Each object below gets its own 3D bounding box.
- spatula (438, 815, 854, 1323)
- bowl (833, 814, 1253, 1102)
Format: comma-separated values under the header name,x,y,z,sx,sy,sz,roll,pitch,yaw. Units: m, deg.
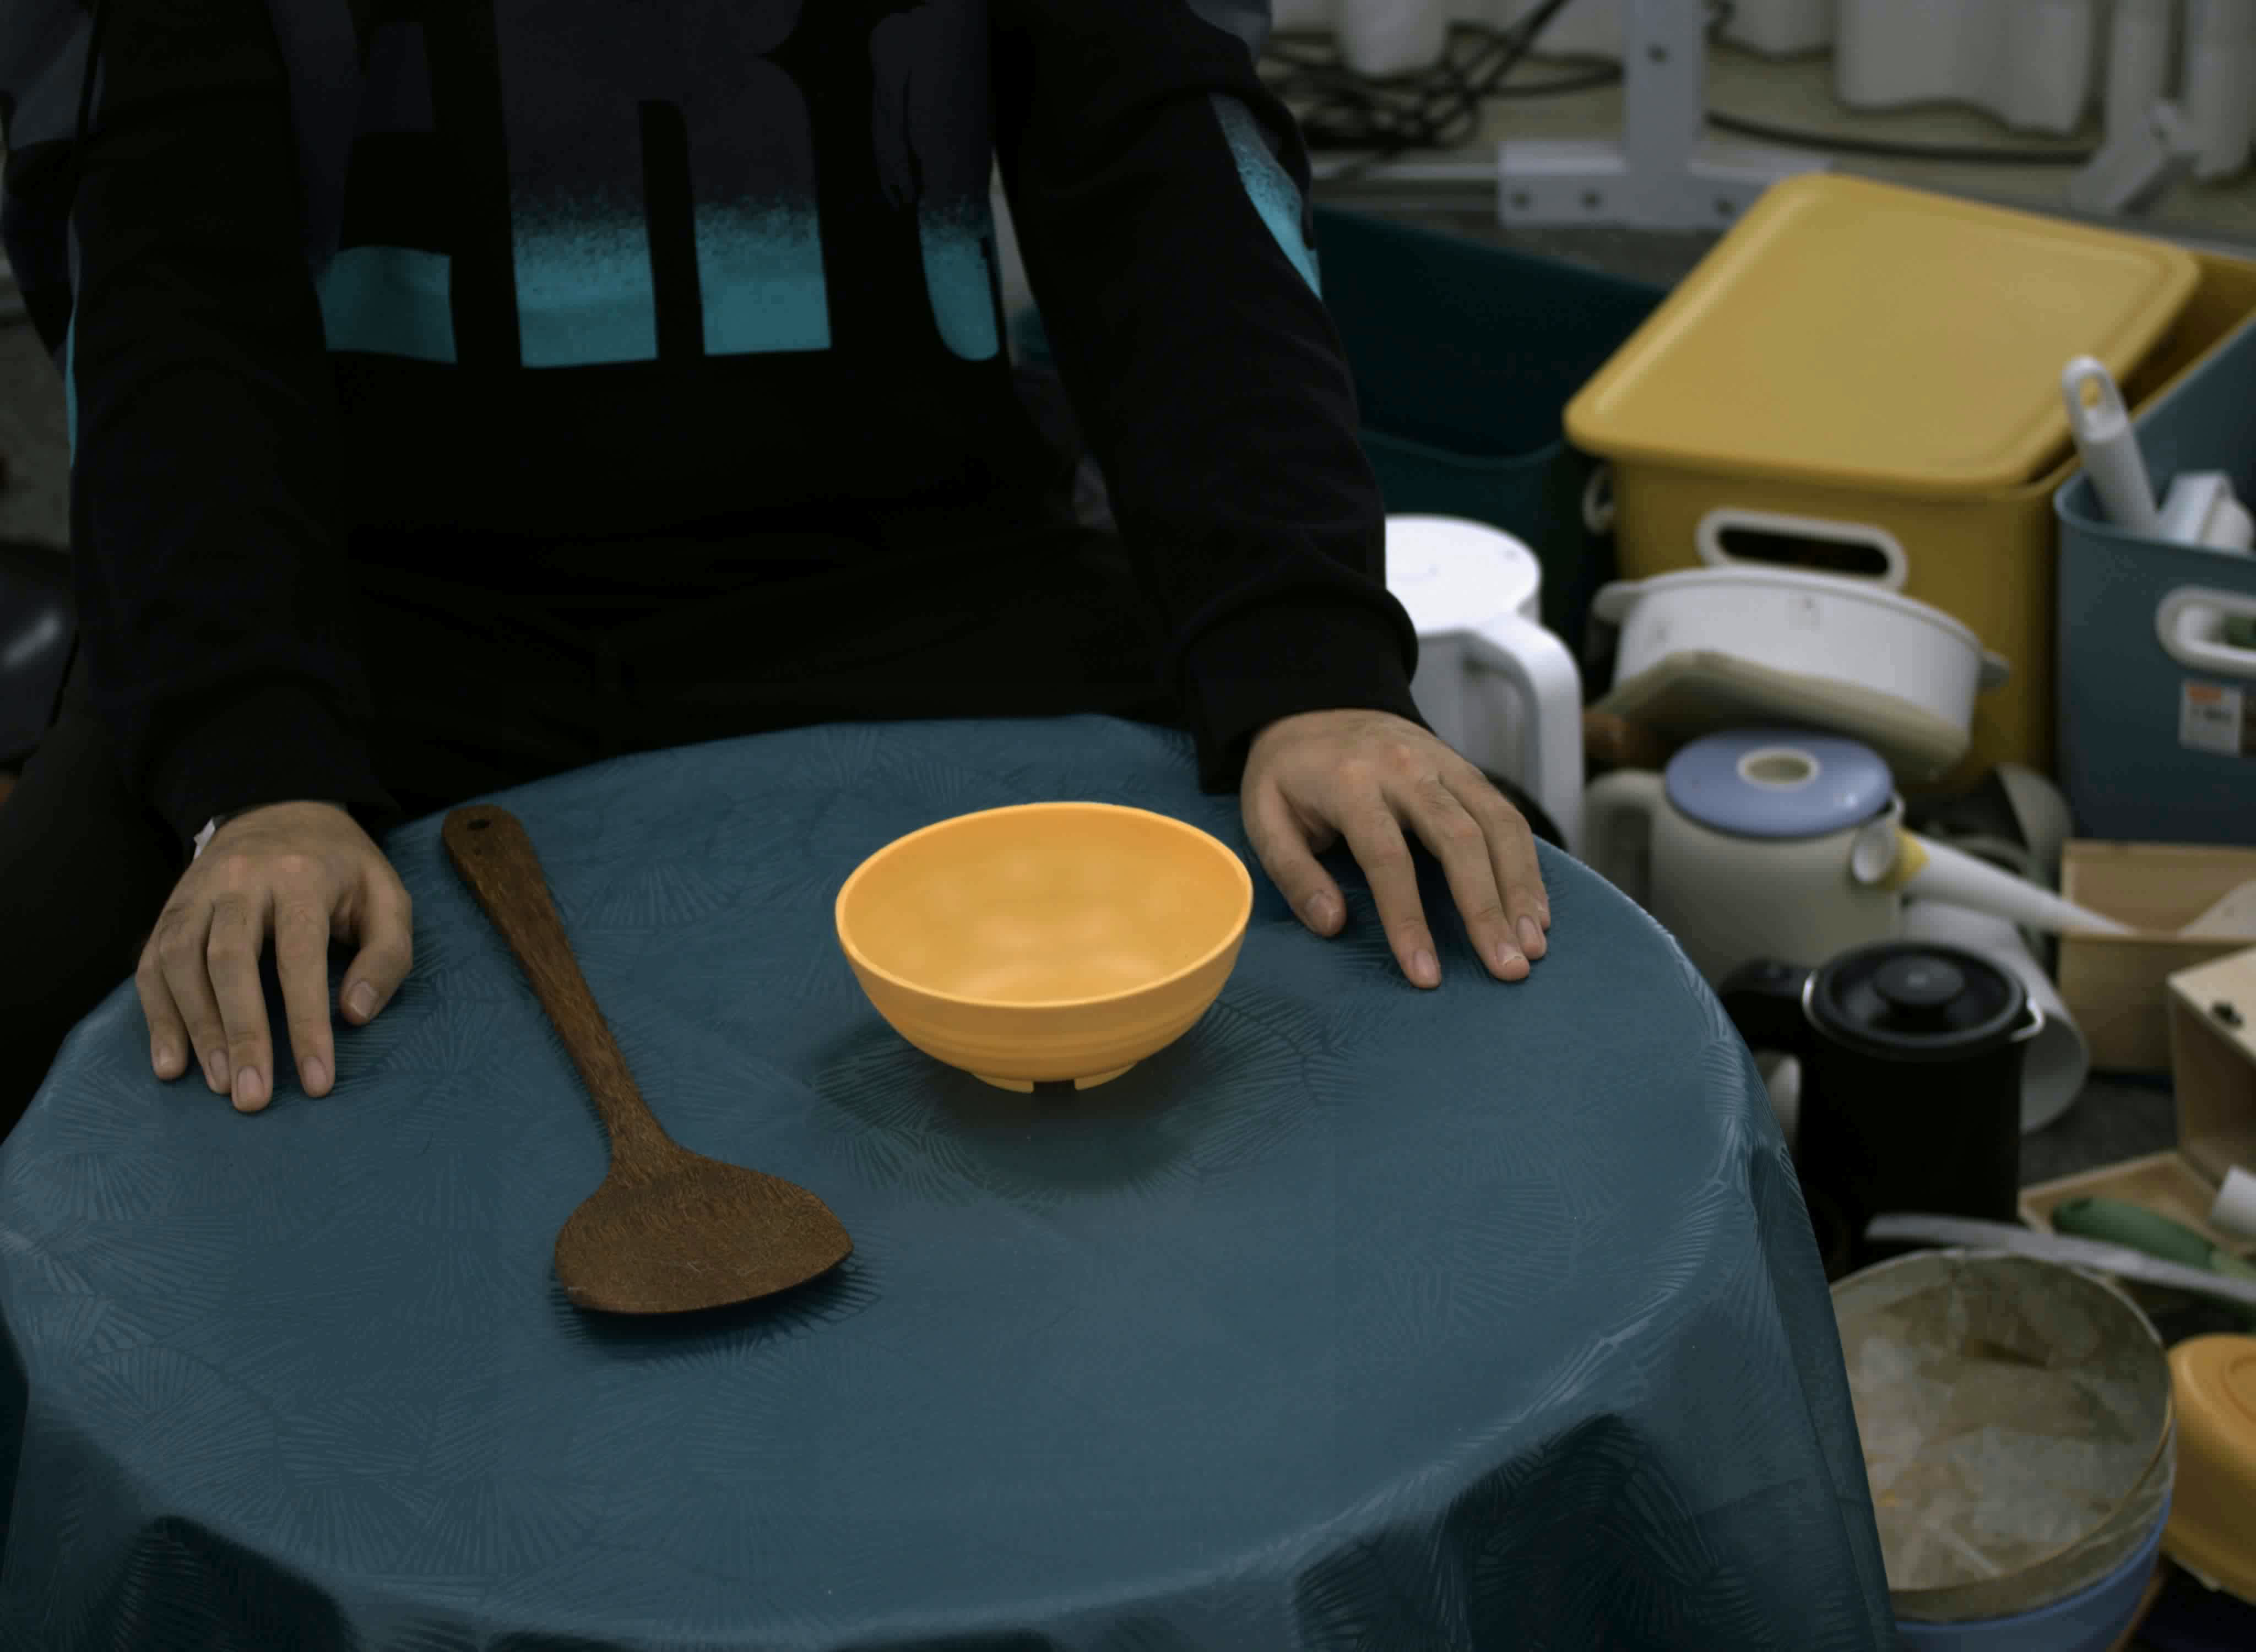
name,x,y,z,sx,sy,sz,roll,pitch,yaw
spatula,-0.188,0.076,1.954,0.096,0.015,0.389,-11,28,-16
bowl,-0.029,0.054,1.937,0.144,0.059,0.147,0,26,0
